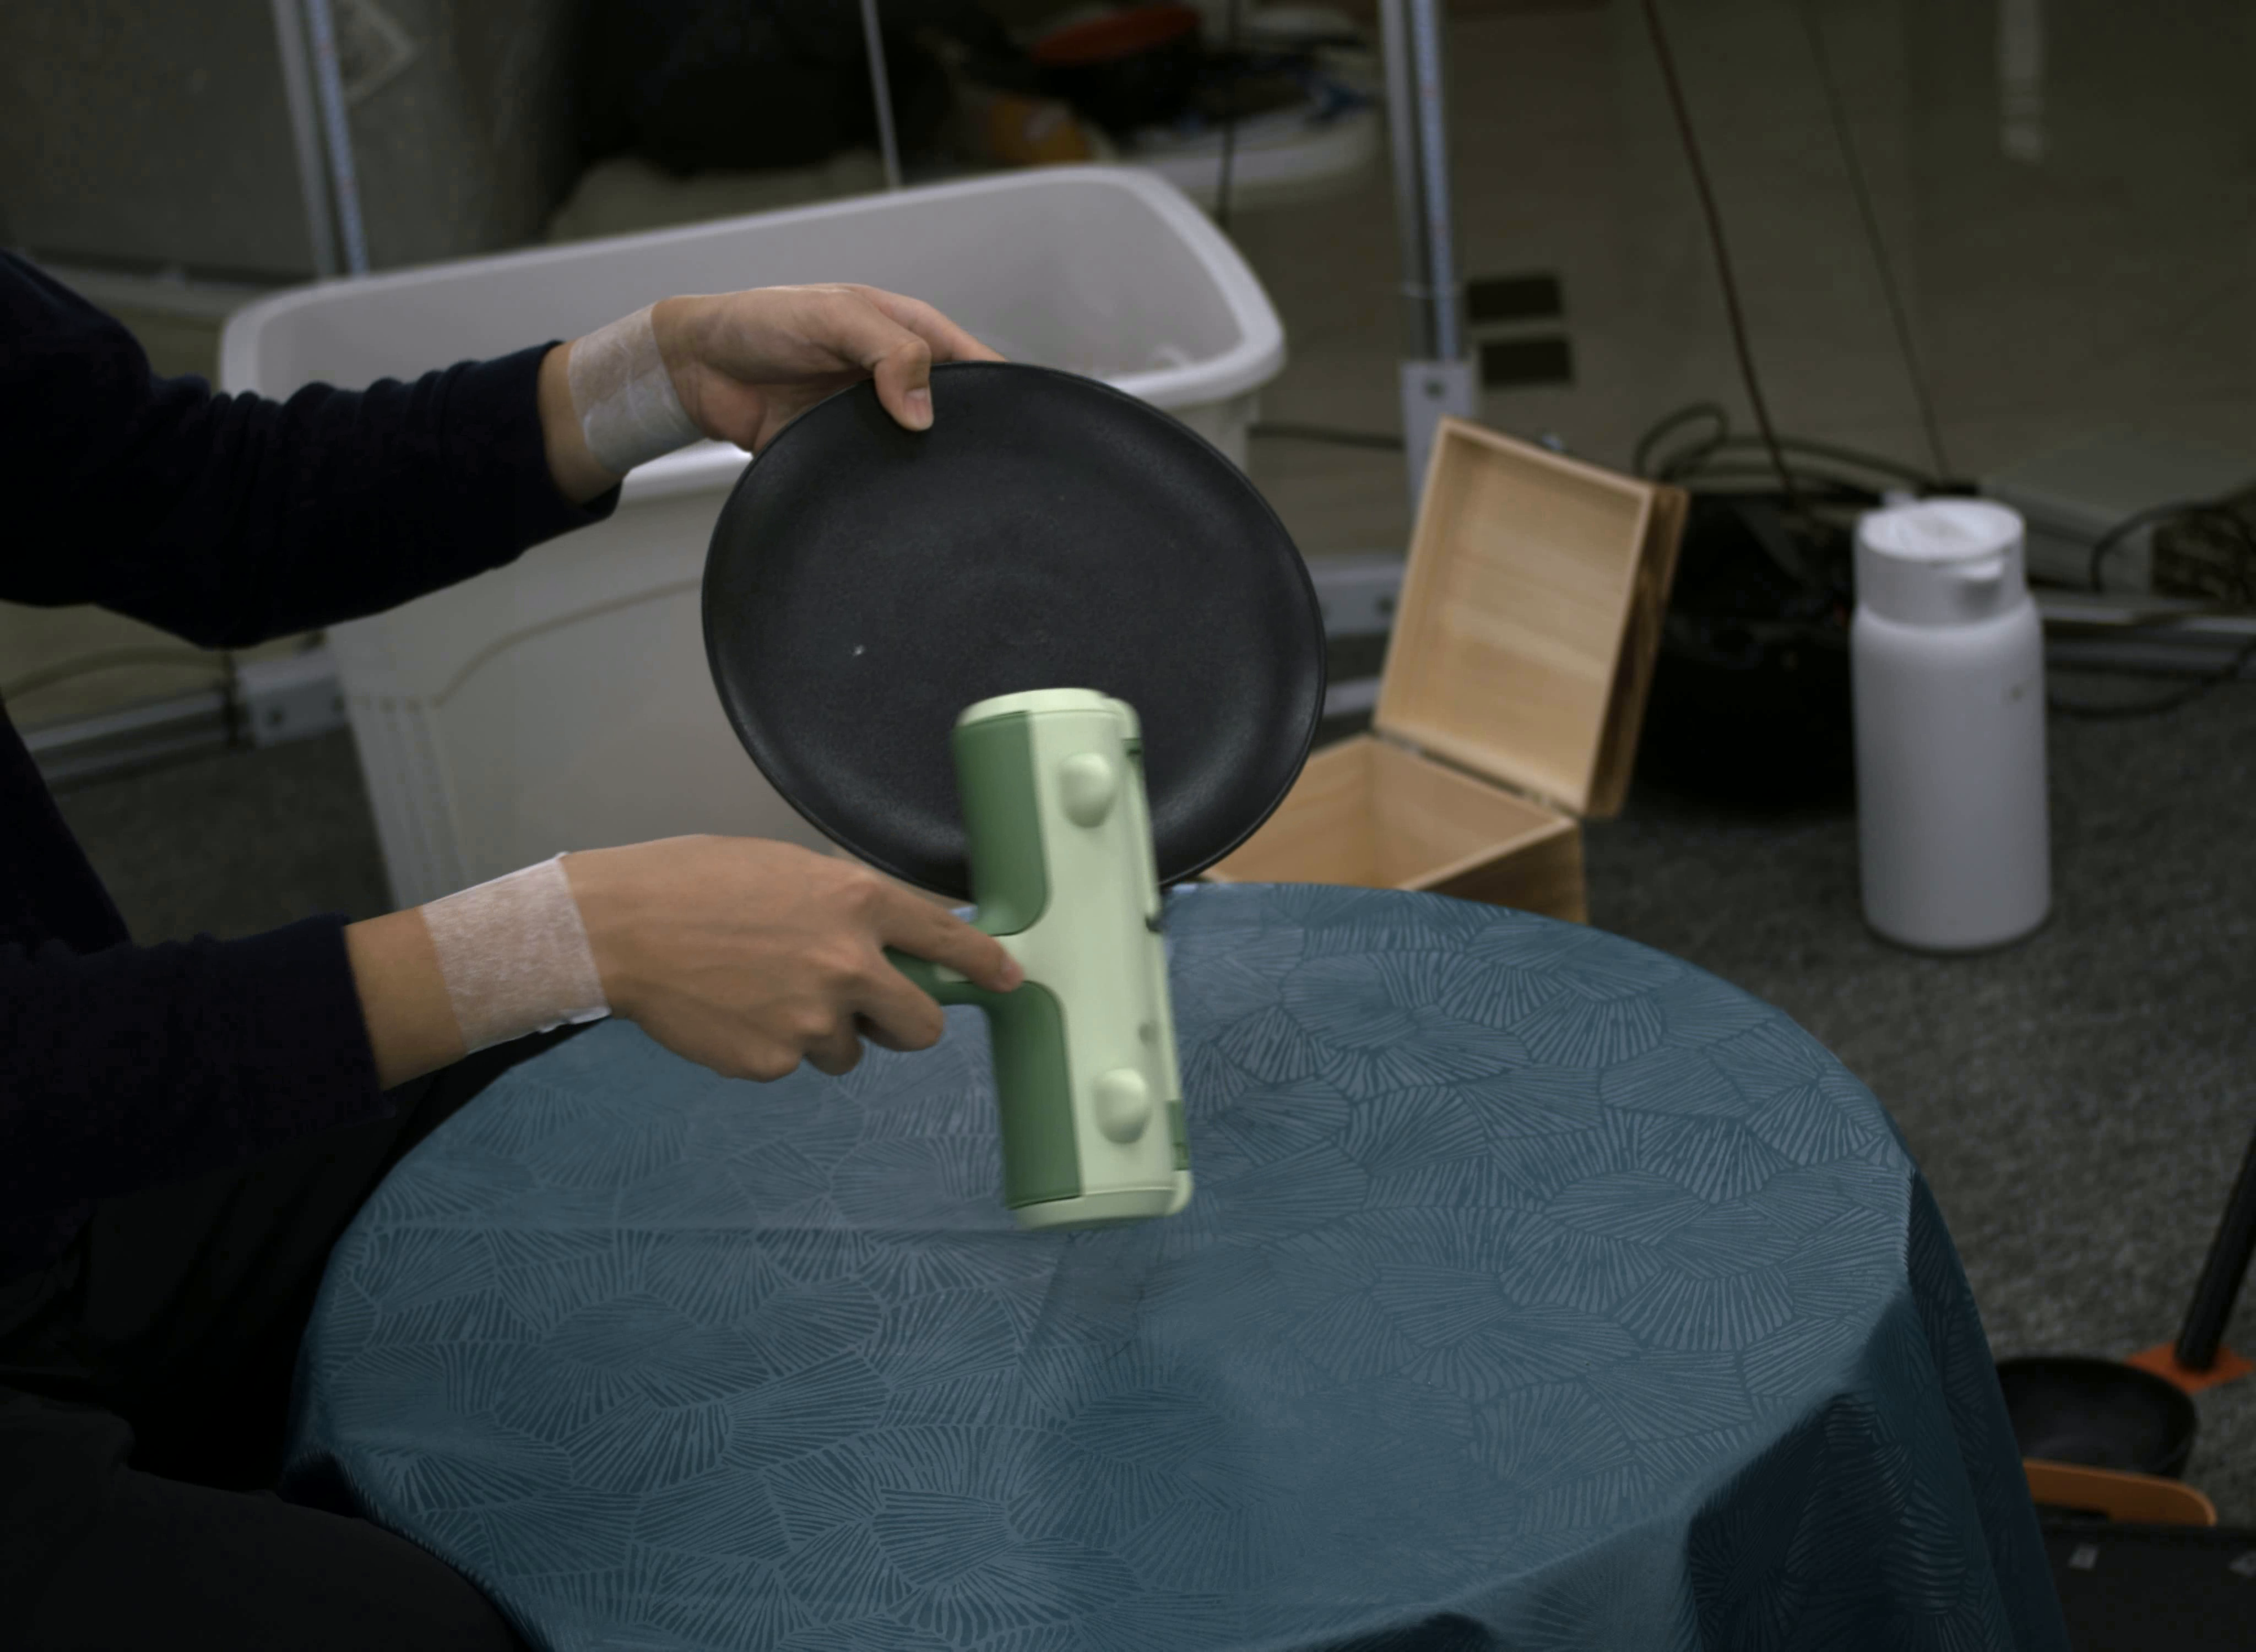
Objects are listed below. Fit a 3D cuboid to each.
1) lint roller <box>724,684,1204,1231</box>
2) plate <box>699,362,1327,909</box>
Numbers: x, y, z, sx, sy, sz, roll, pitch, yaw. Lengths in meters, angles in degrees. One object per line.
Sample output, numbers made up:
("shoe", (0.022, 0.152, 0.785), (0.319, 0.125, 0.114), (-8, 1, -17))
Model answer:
("lint roller", (-0.052, 0.046, 2.023), (0.183, 0.198, 0.082), (0, -9, -43))
("plate", (-0.044, -0.071, 2.154), (0.244, 0.024, 0.241), (6, 62, -10))
